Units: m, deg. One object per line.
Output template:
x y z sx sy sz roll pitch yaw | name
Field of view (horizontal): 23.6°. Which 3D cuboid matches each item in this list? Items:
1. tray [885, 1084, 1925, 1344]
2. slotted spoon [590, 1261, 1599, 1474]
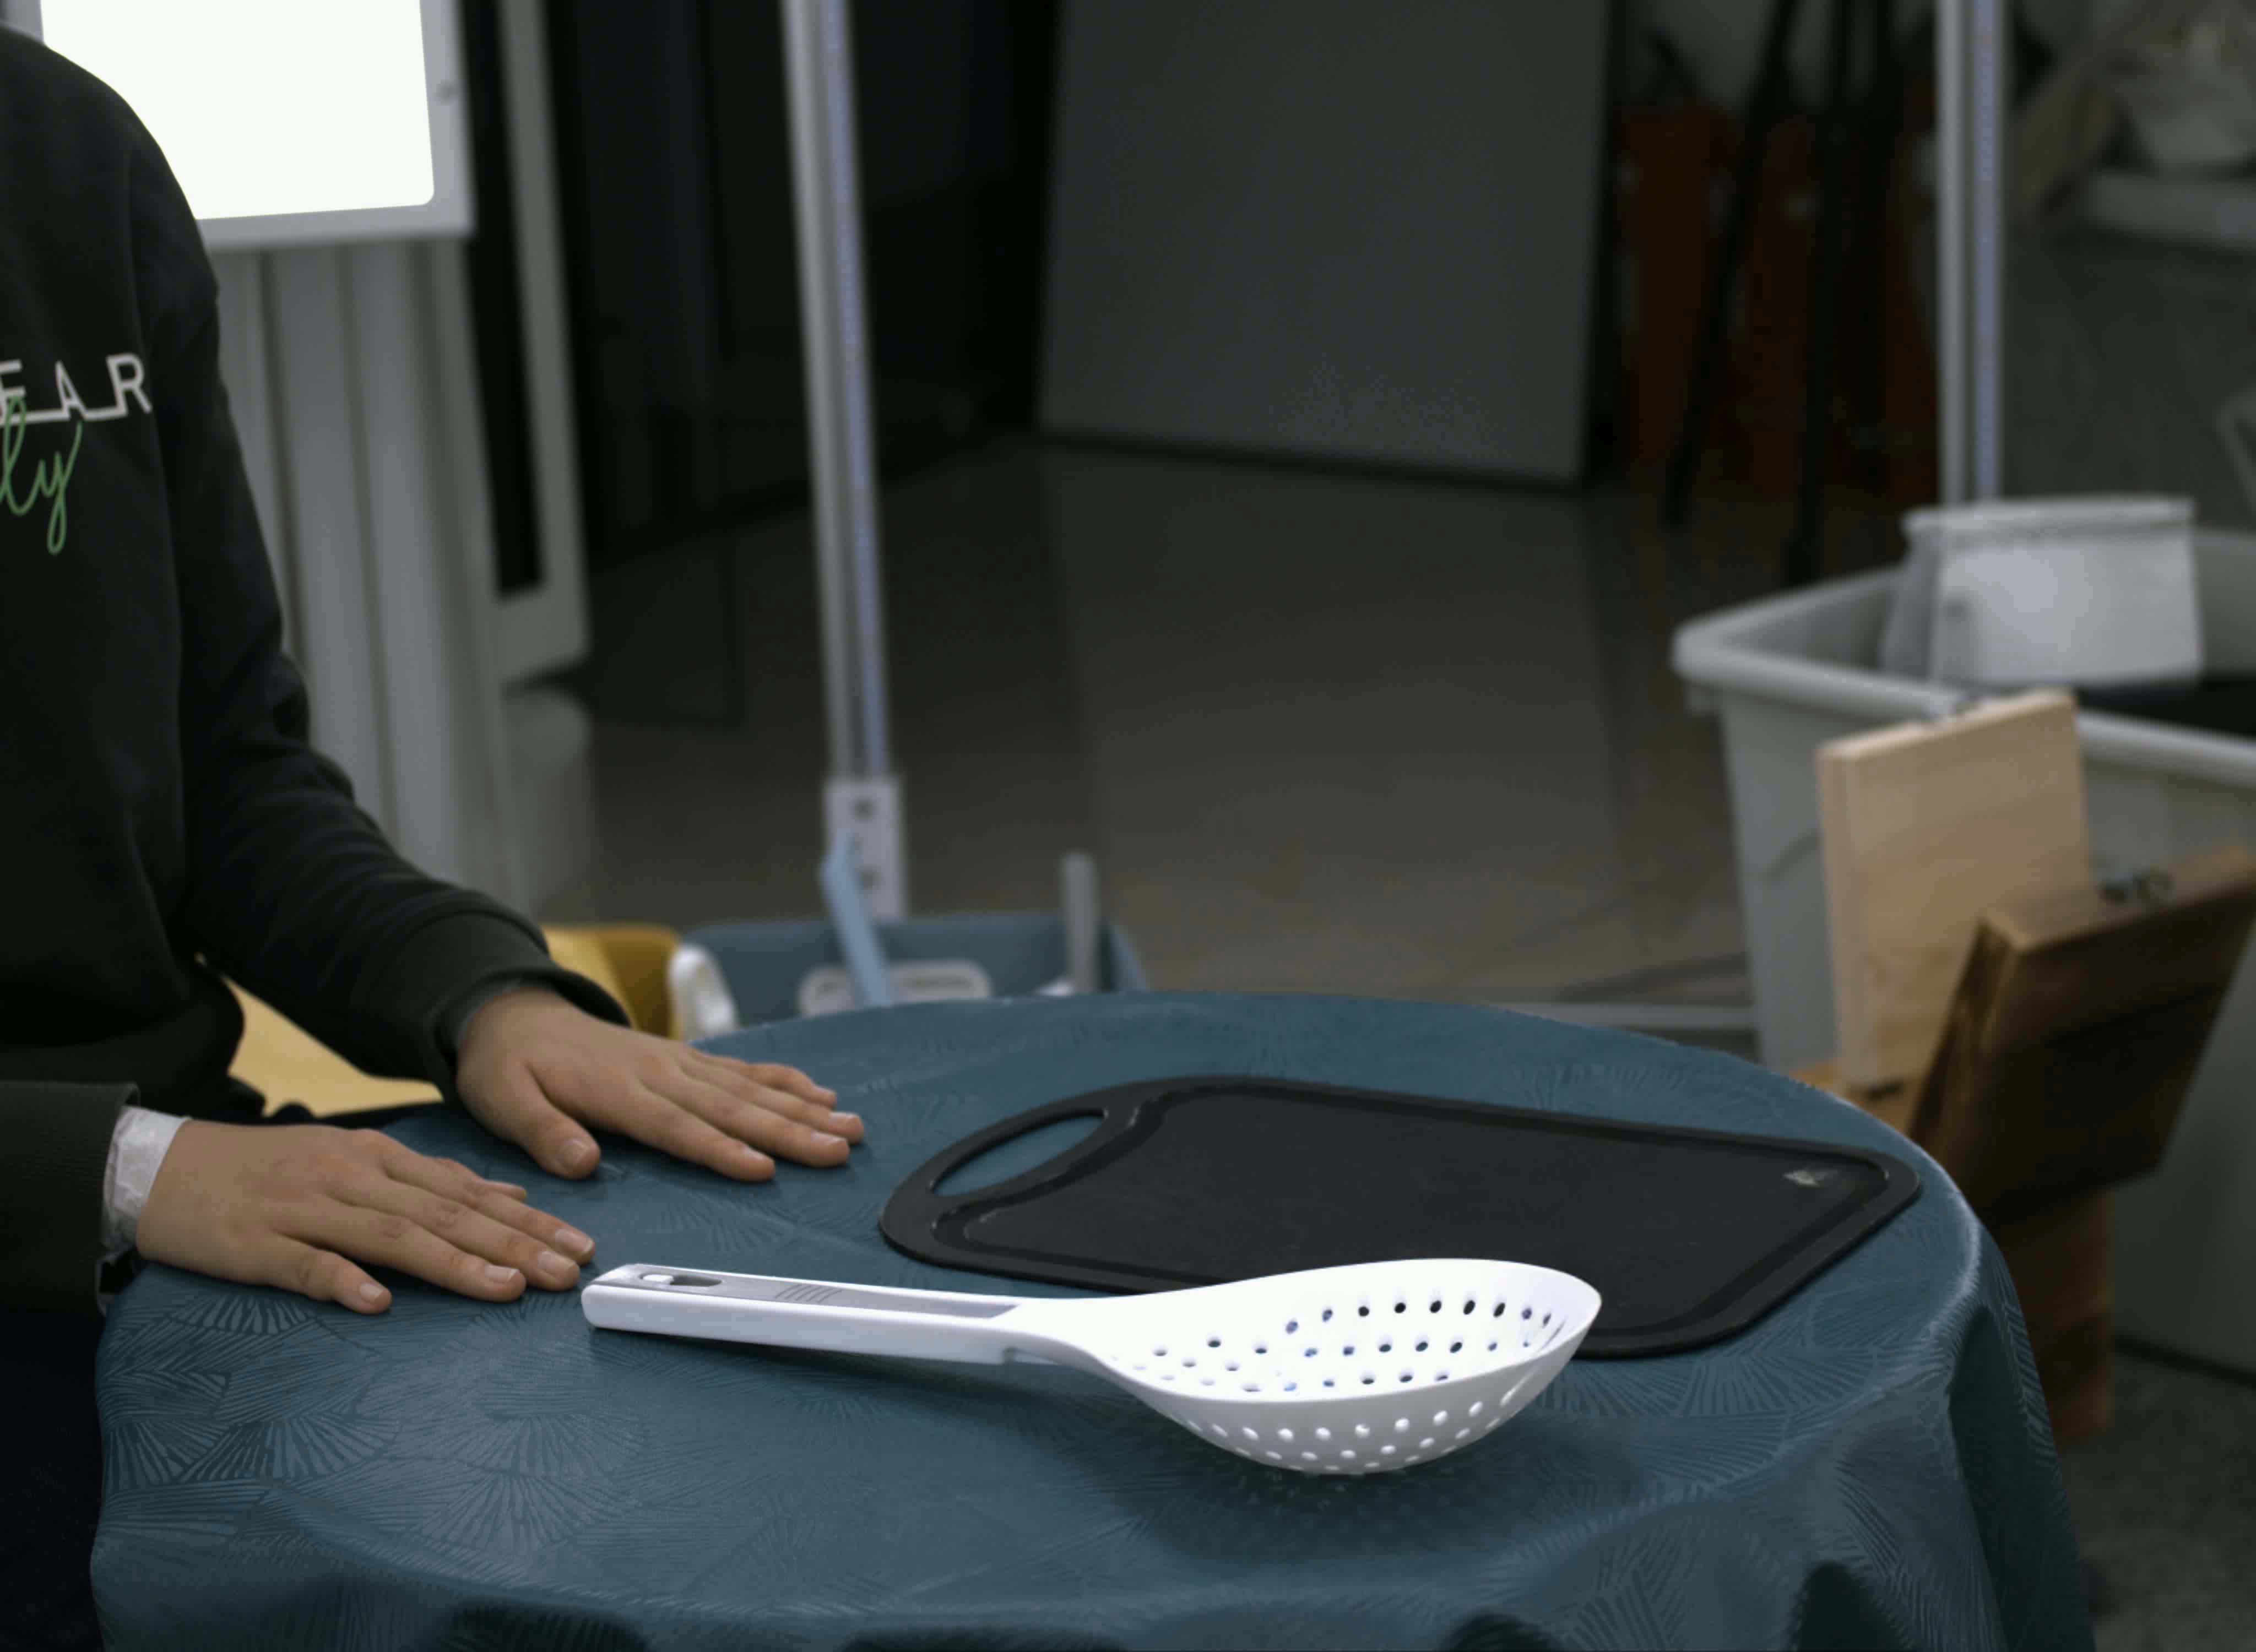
0.081 0.120 1.736 0.327 0.010 0.207 4 16 33 | tray
-0.021 0.148 1.575 0.352 0.046 0.133 5 14 36 | slotted spoon
